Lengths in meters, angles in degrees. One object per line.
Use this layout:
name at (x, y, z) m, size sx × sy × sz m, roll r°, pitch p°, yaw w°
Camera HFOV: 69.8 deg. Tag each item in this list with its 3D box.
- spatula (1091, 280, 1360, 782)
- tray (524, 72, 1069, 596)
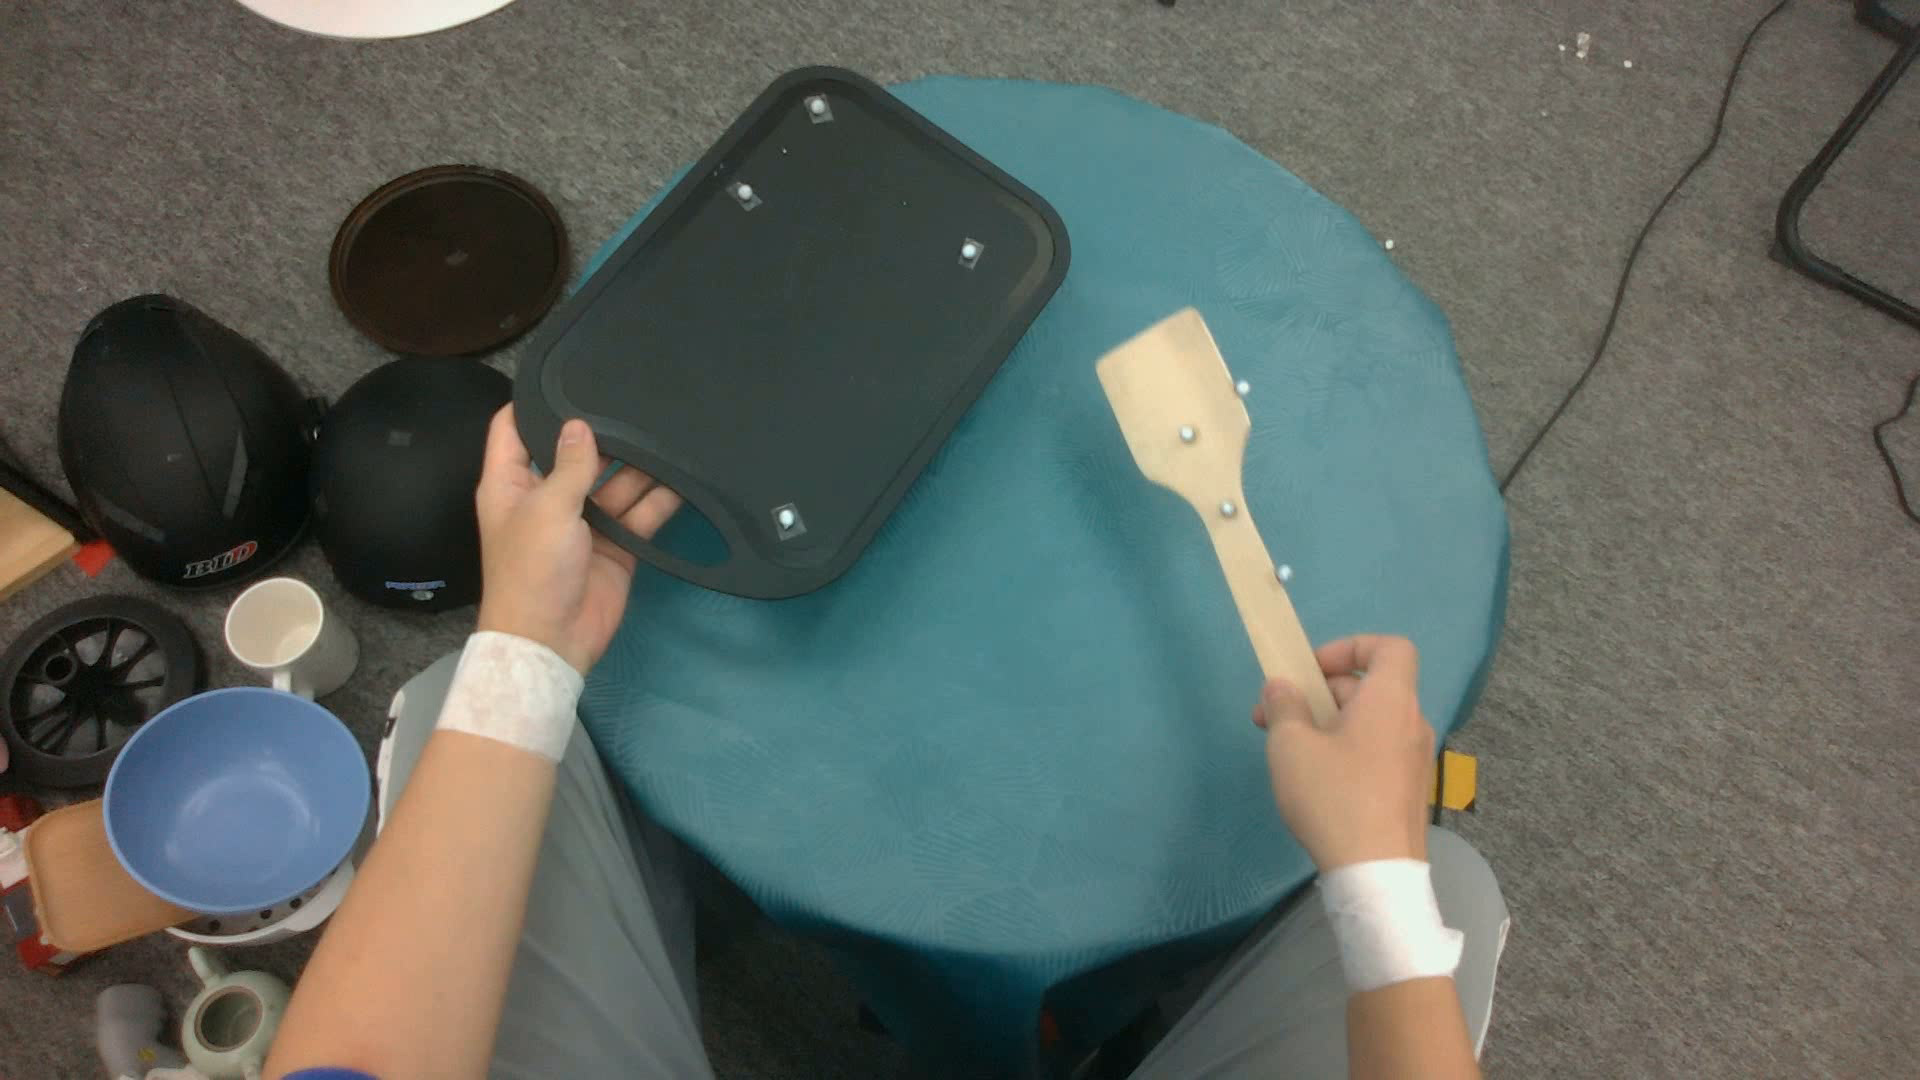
spatula at (0.149, -0.009, 0.748) m, size 0.072 × 0.010 × 0.294 m, roll -28°, pitch 66°, yaw 22°
tray at (-0.088, -0.123, 0.785) m, size 0.211 × 0.010 × 0.326 m, roll 34°, pitch 68°, yaw 2°
